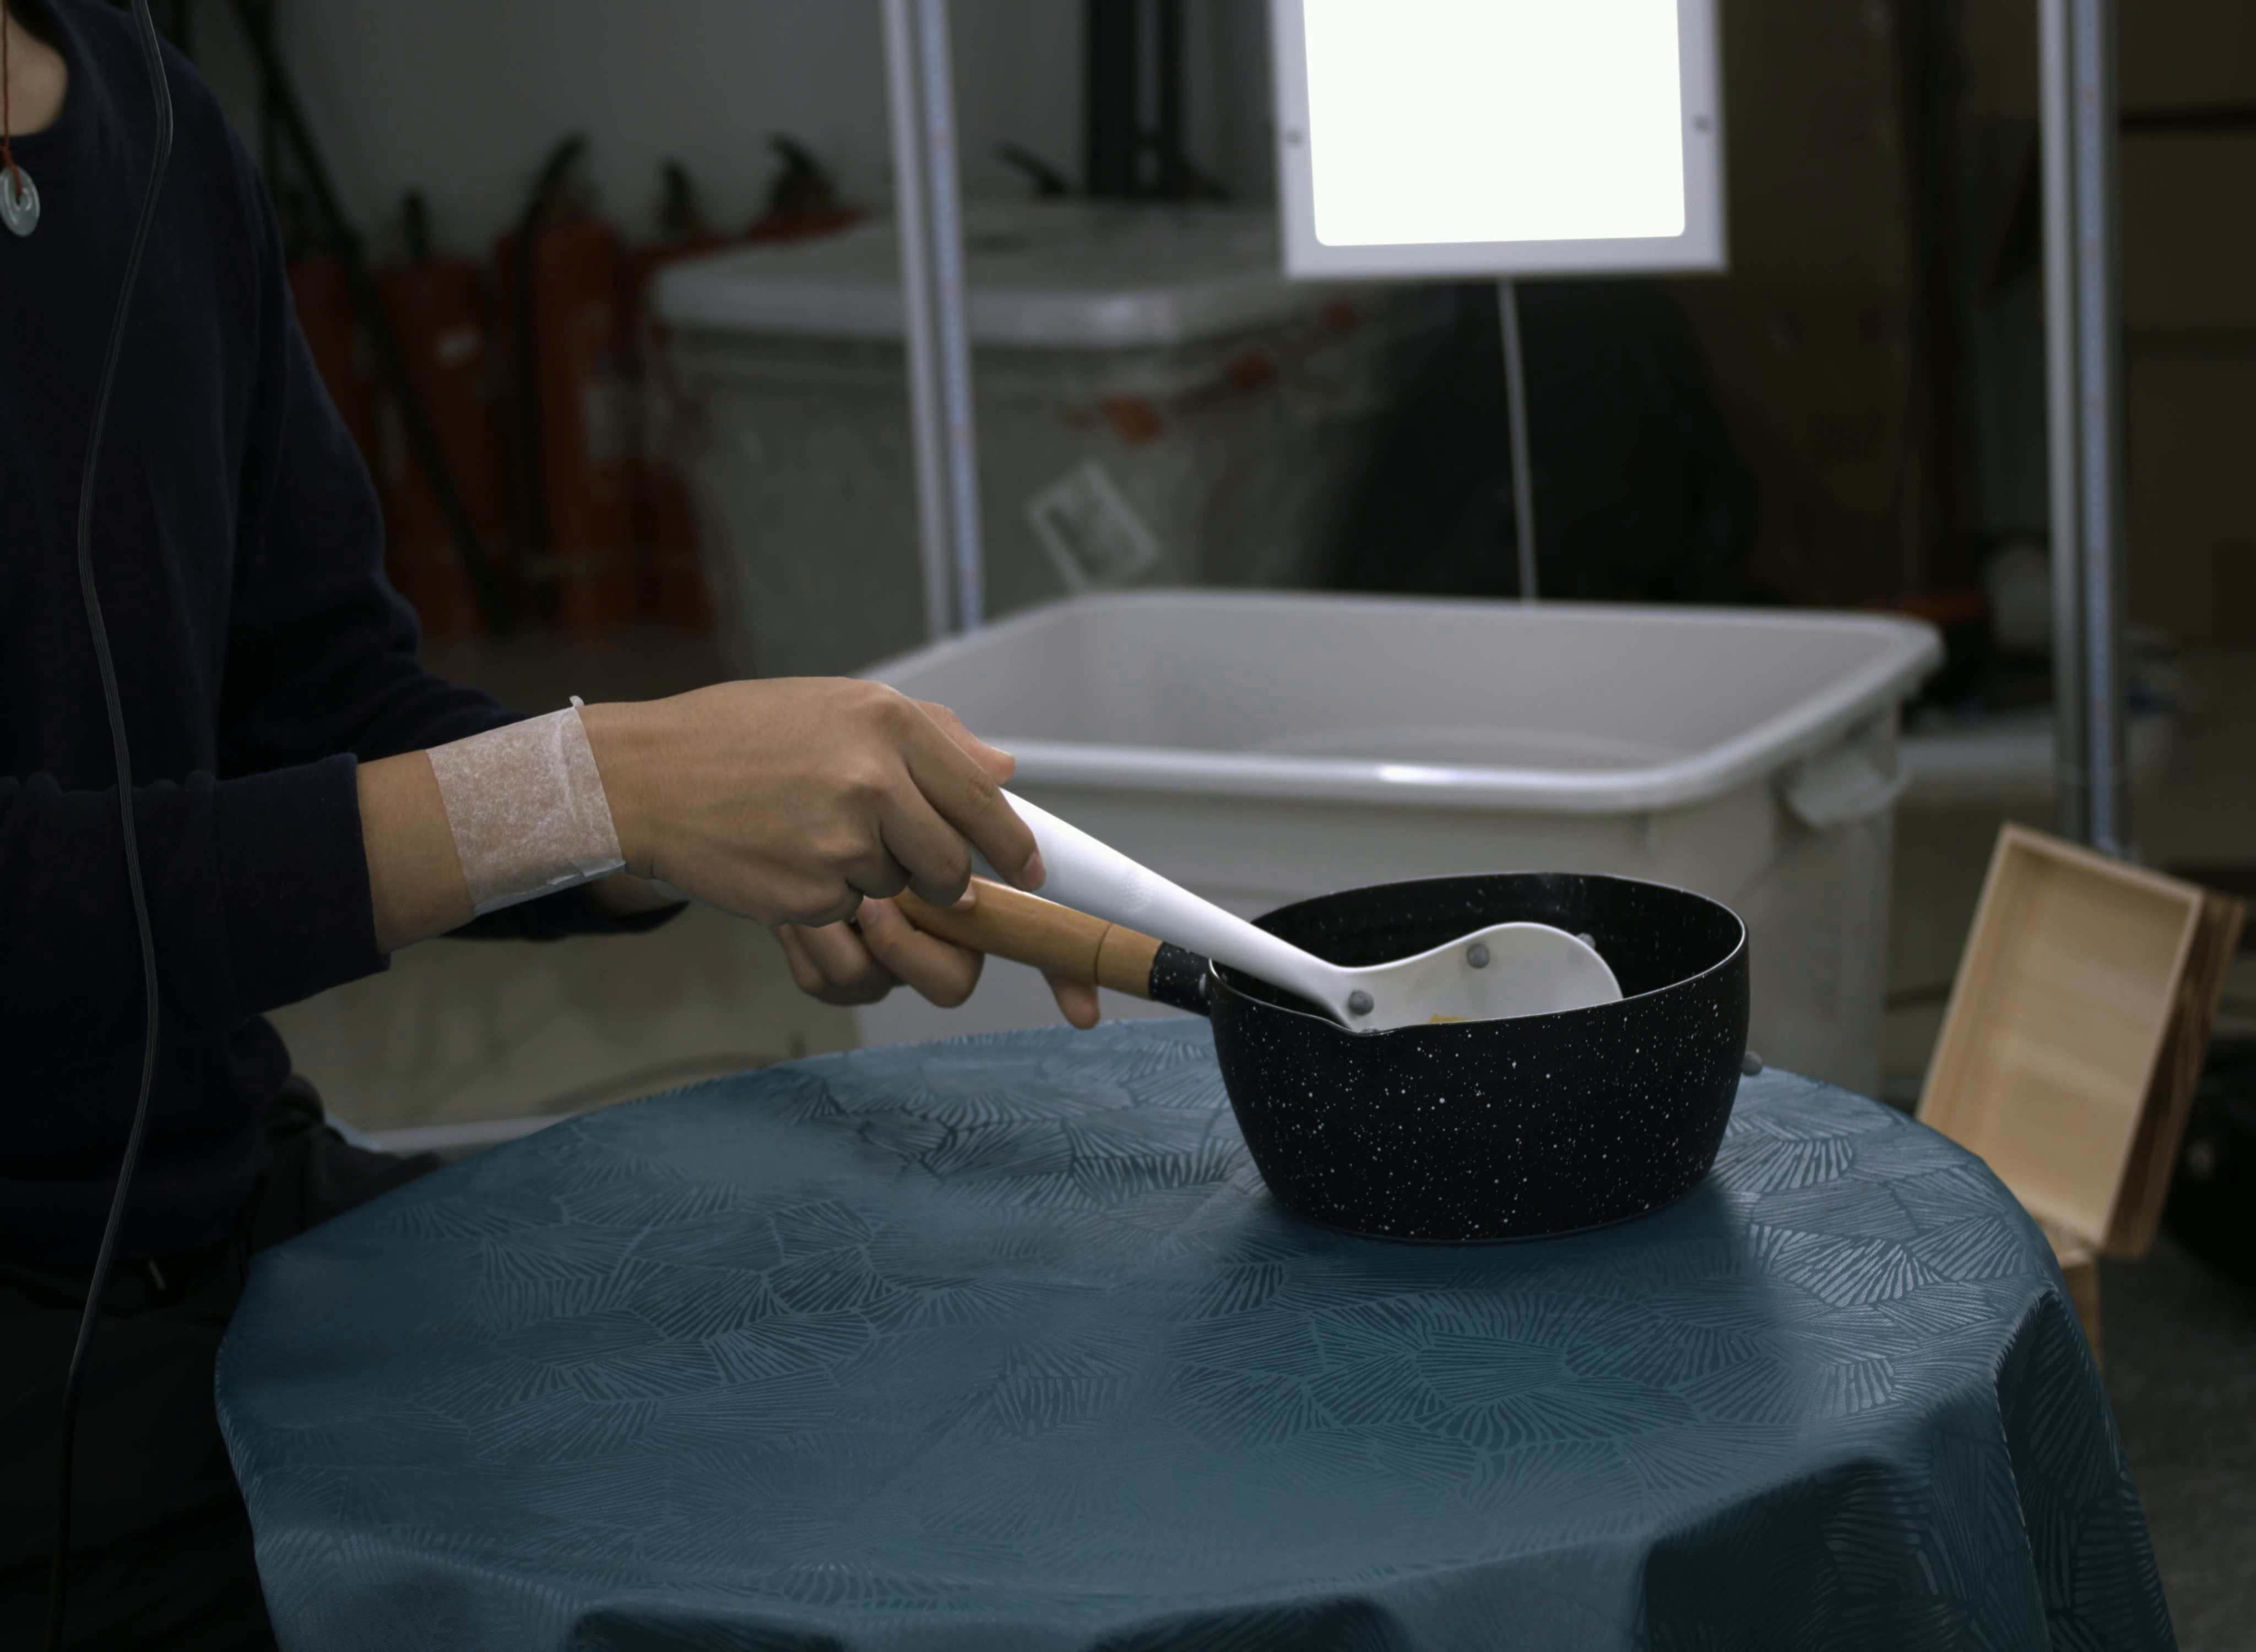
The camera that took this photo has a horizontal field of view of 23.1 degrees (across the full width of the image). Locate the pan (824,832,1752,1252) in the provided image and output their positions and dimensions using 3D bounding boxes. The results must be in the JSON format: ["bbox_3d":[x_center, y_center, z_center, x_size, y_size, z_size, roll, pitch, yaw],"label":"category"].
[{"bbox_3d":[0.049,0.065,1.901,0.348,0.108,0.203,3,17,26],"label":"pan"}]

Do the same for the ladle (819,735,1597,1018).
[{"bbox_3d":[0.033,0.042,1.831,0.288,0.090,0.071,26,-4,-26],"label":"ladle"}]
